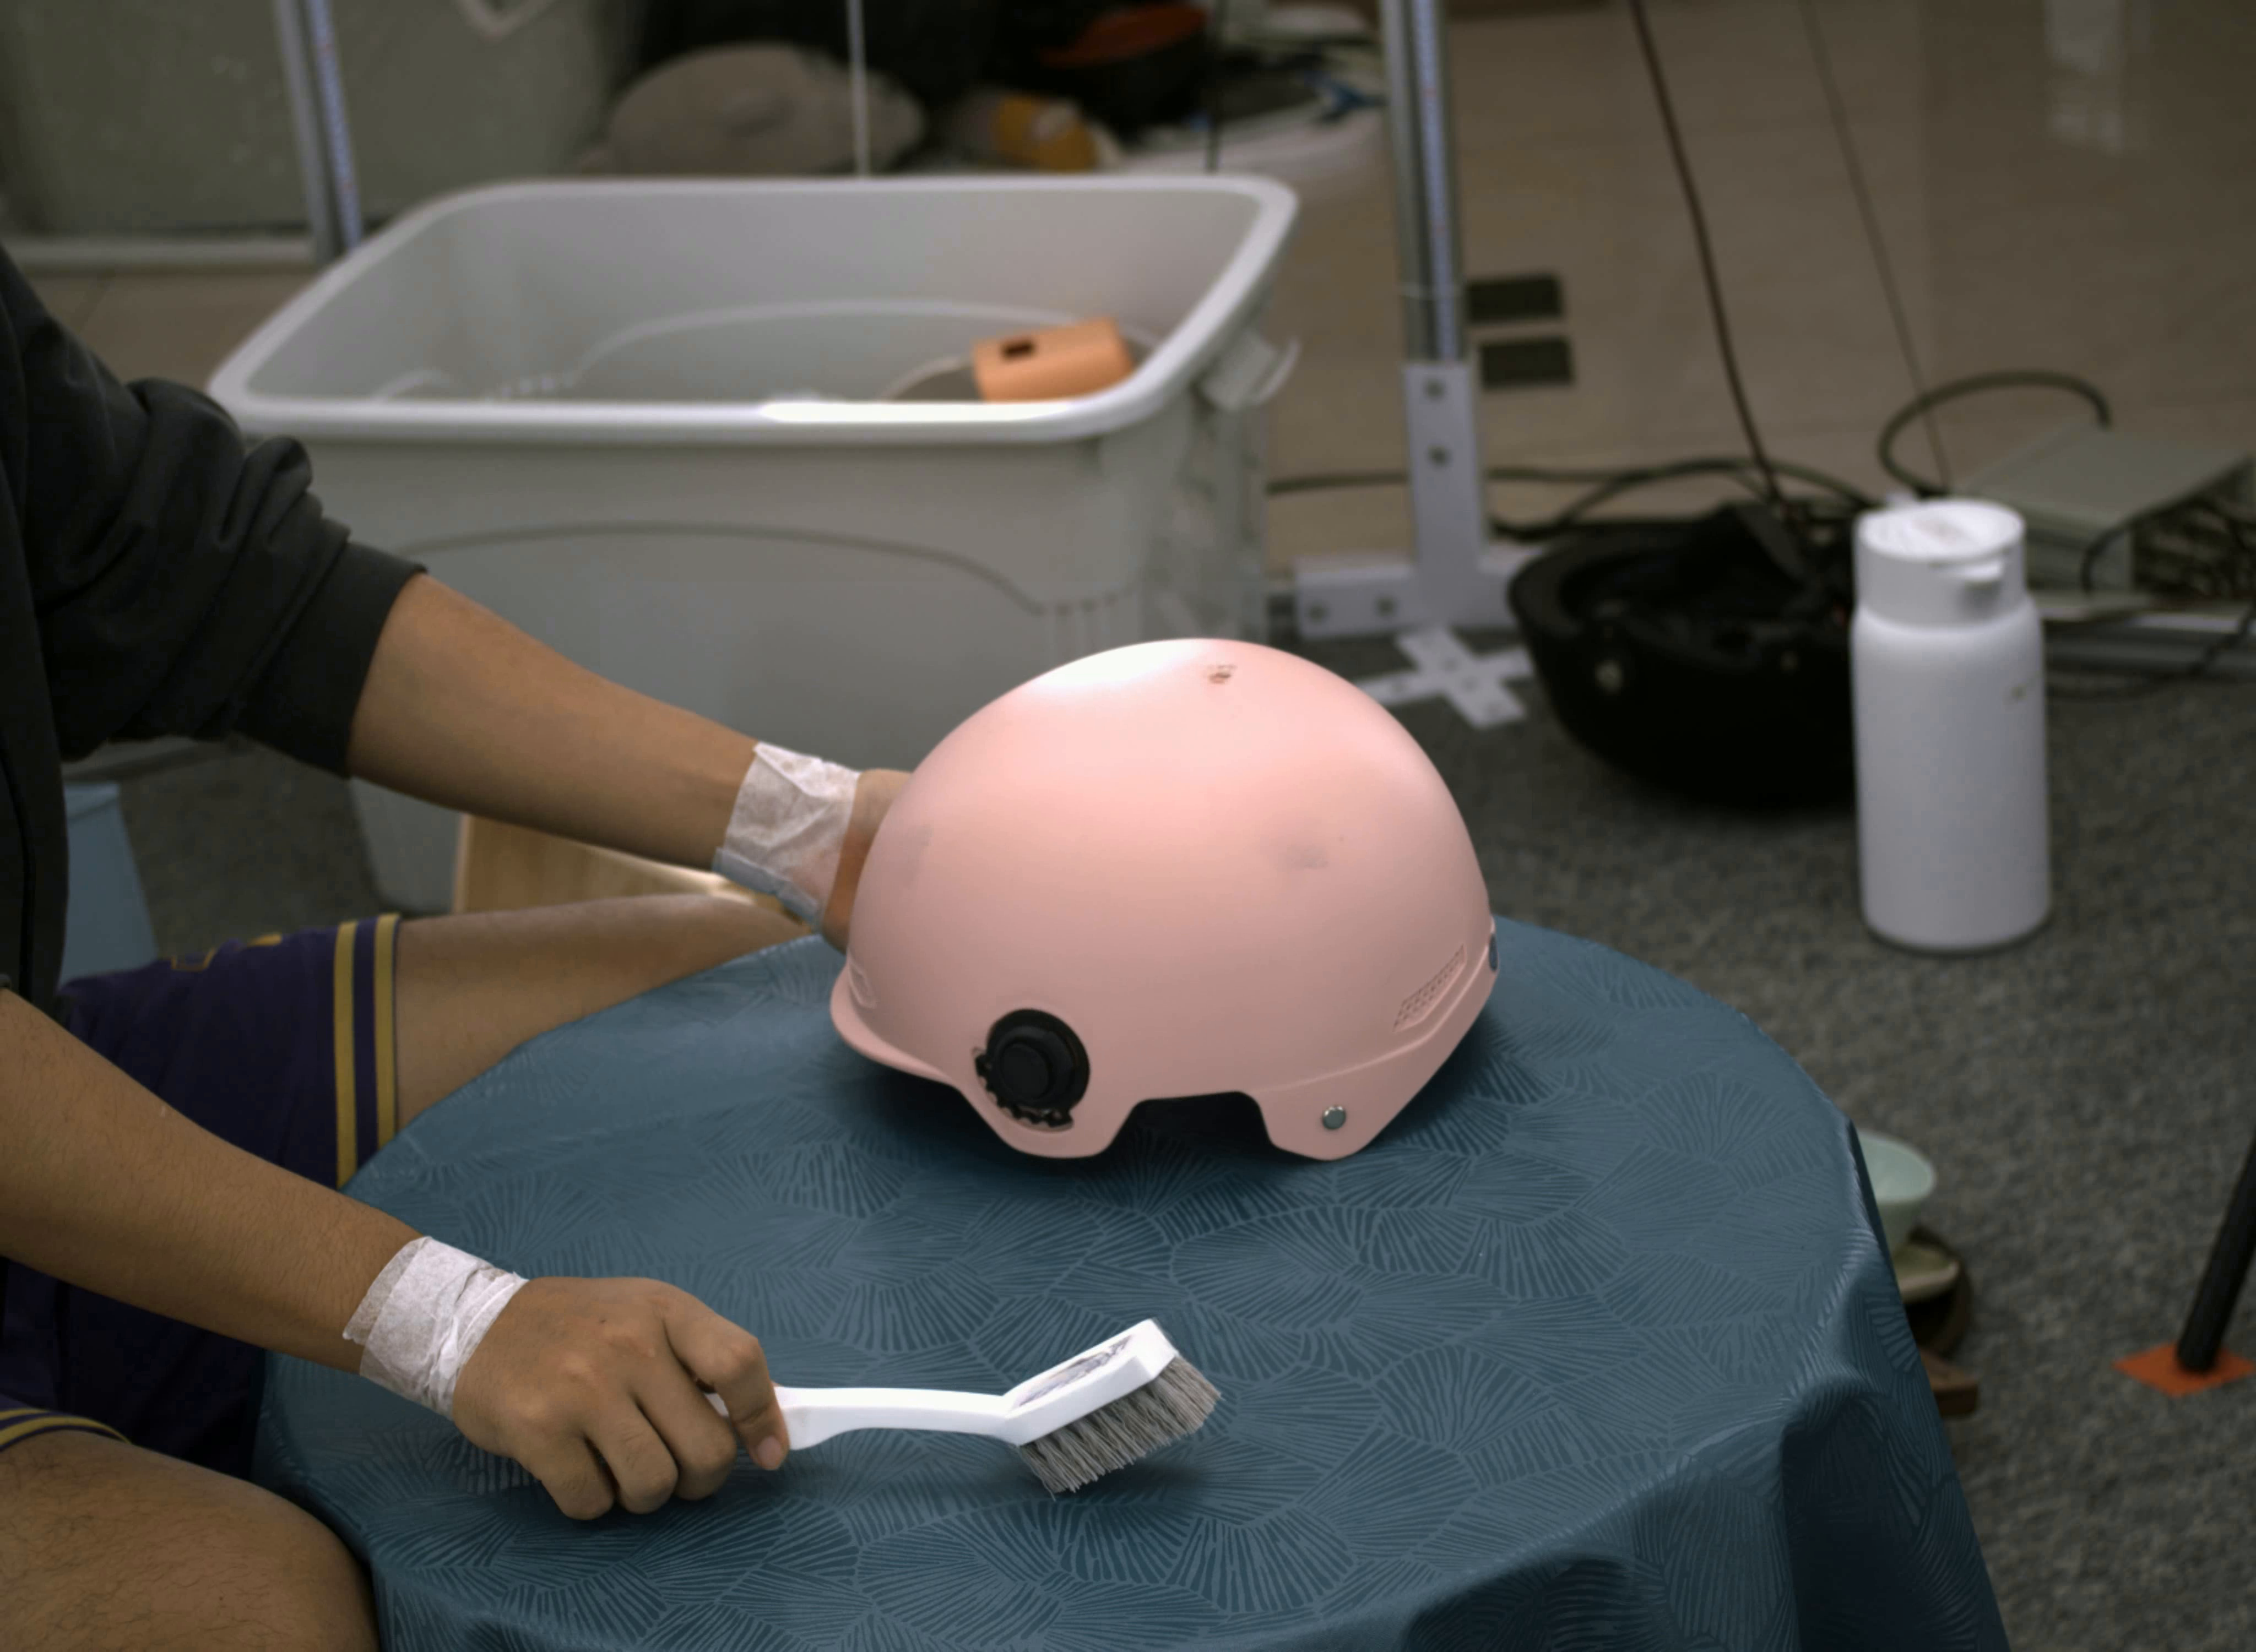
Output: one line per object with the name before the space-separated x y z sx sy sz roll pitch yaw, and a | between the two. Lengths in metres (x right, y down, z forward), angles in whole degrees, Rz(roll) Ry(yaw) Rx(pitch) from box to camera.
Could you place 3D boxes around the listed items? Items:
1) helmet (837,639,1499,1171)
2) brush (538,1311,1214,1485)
helmet | 0.009 0.013 2.209 0.265 0.161 0.230 1 29 14
brush | -0.089 0.214 1.975 0.244 0.051 0.034 -12 15 15
